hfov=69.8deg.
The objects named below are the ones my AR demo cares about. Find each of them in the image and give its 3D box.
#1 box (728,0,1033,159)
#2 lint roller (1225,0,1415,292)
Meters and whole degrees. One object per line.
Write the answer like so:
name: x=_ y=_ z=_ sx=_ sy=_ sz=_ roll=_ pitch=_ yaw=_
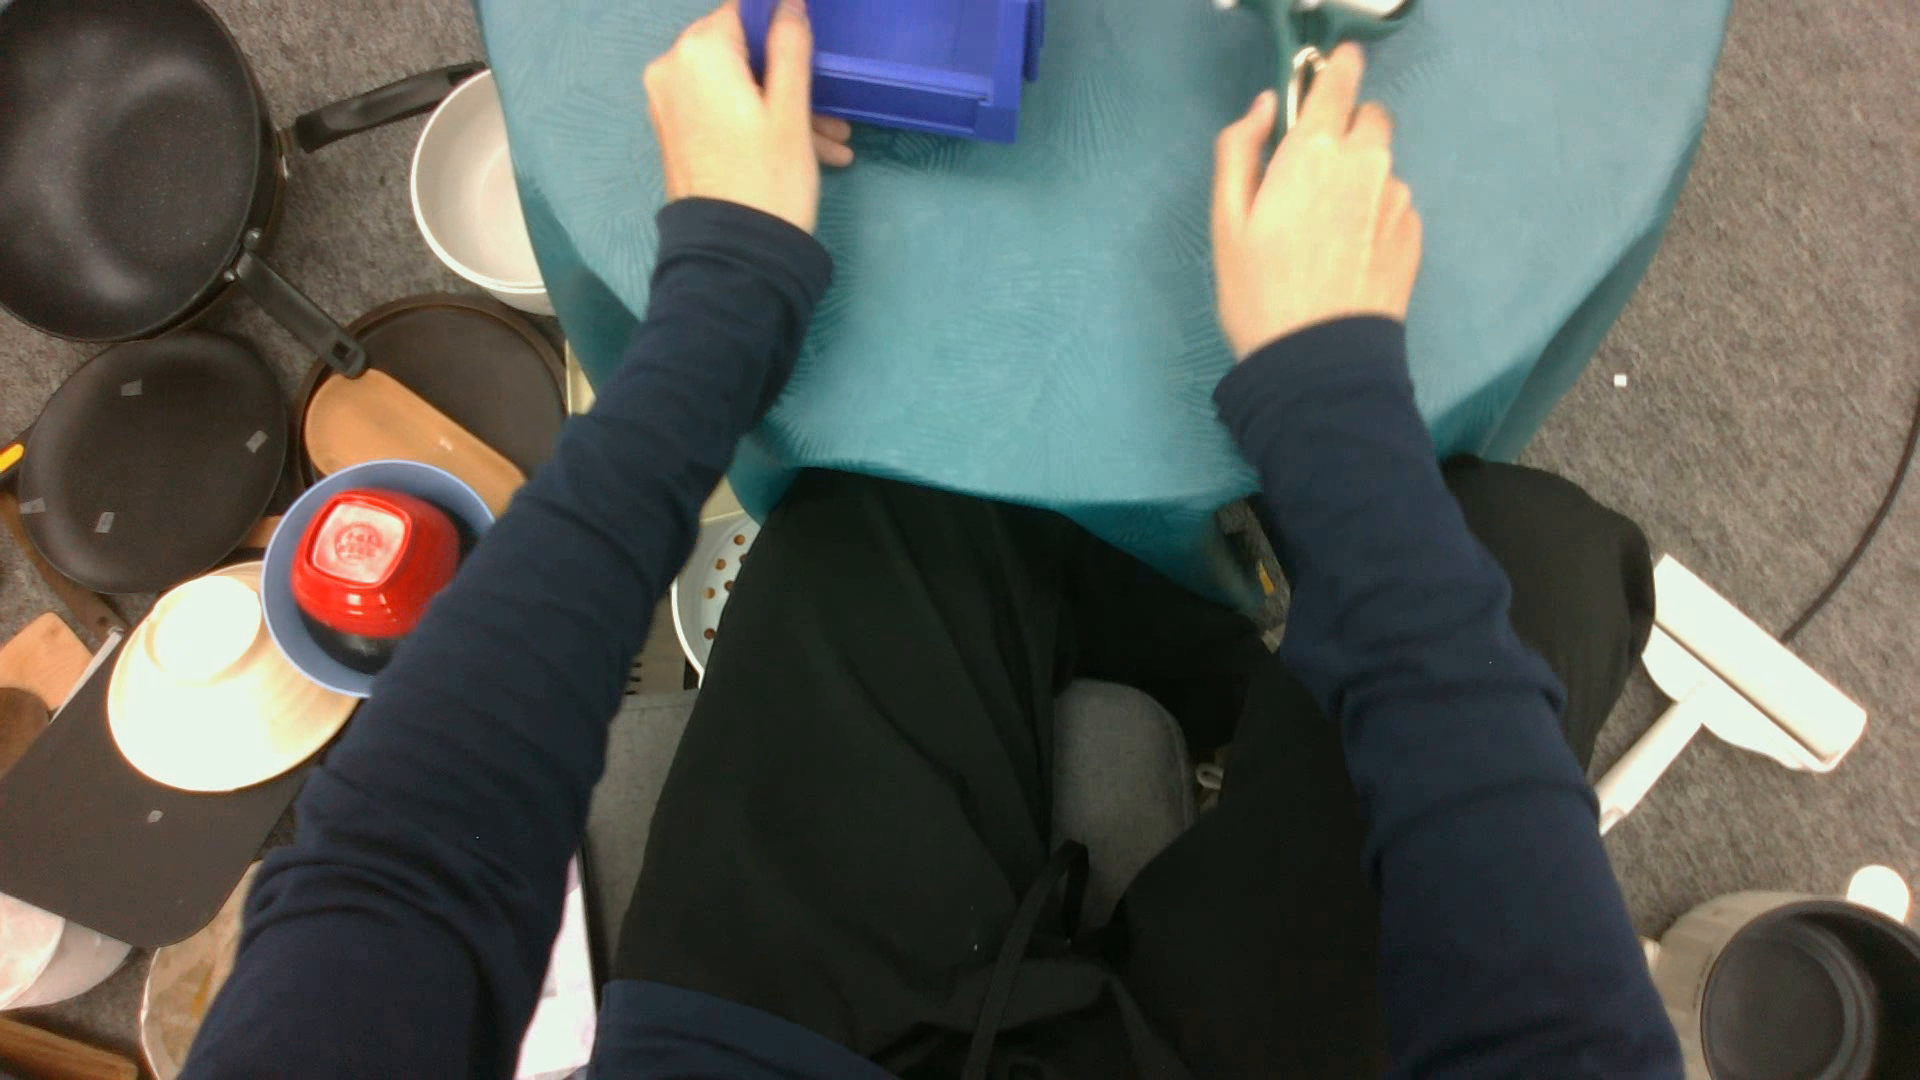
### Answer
box: x=-0.023 y=-0.269 z=0.609 sx=0.124 sy=0.081 sz=0.180 roll=11 pitch=77 yaw=0
lint roller: x=0.146 y=-0.197 z=0.584 sx=0.134 sy=0.048 sz=0.180 roll=5 pitch=75 yaw=-28
